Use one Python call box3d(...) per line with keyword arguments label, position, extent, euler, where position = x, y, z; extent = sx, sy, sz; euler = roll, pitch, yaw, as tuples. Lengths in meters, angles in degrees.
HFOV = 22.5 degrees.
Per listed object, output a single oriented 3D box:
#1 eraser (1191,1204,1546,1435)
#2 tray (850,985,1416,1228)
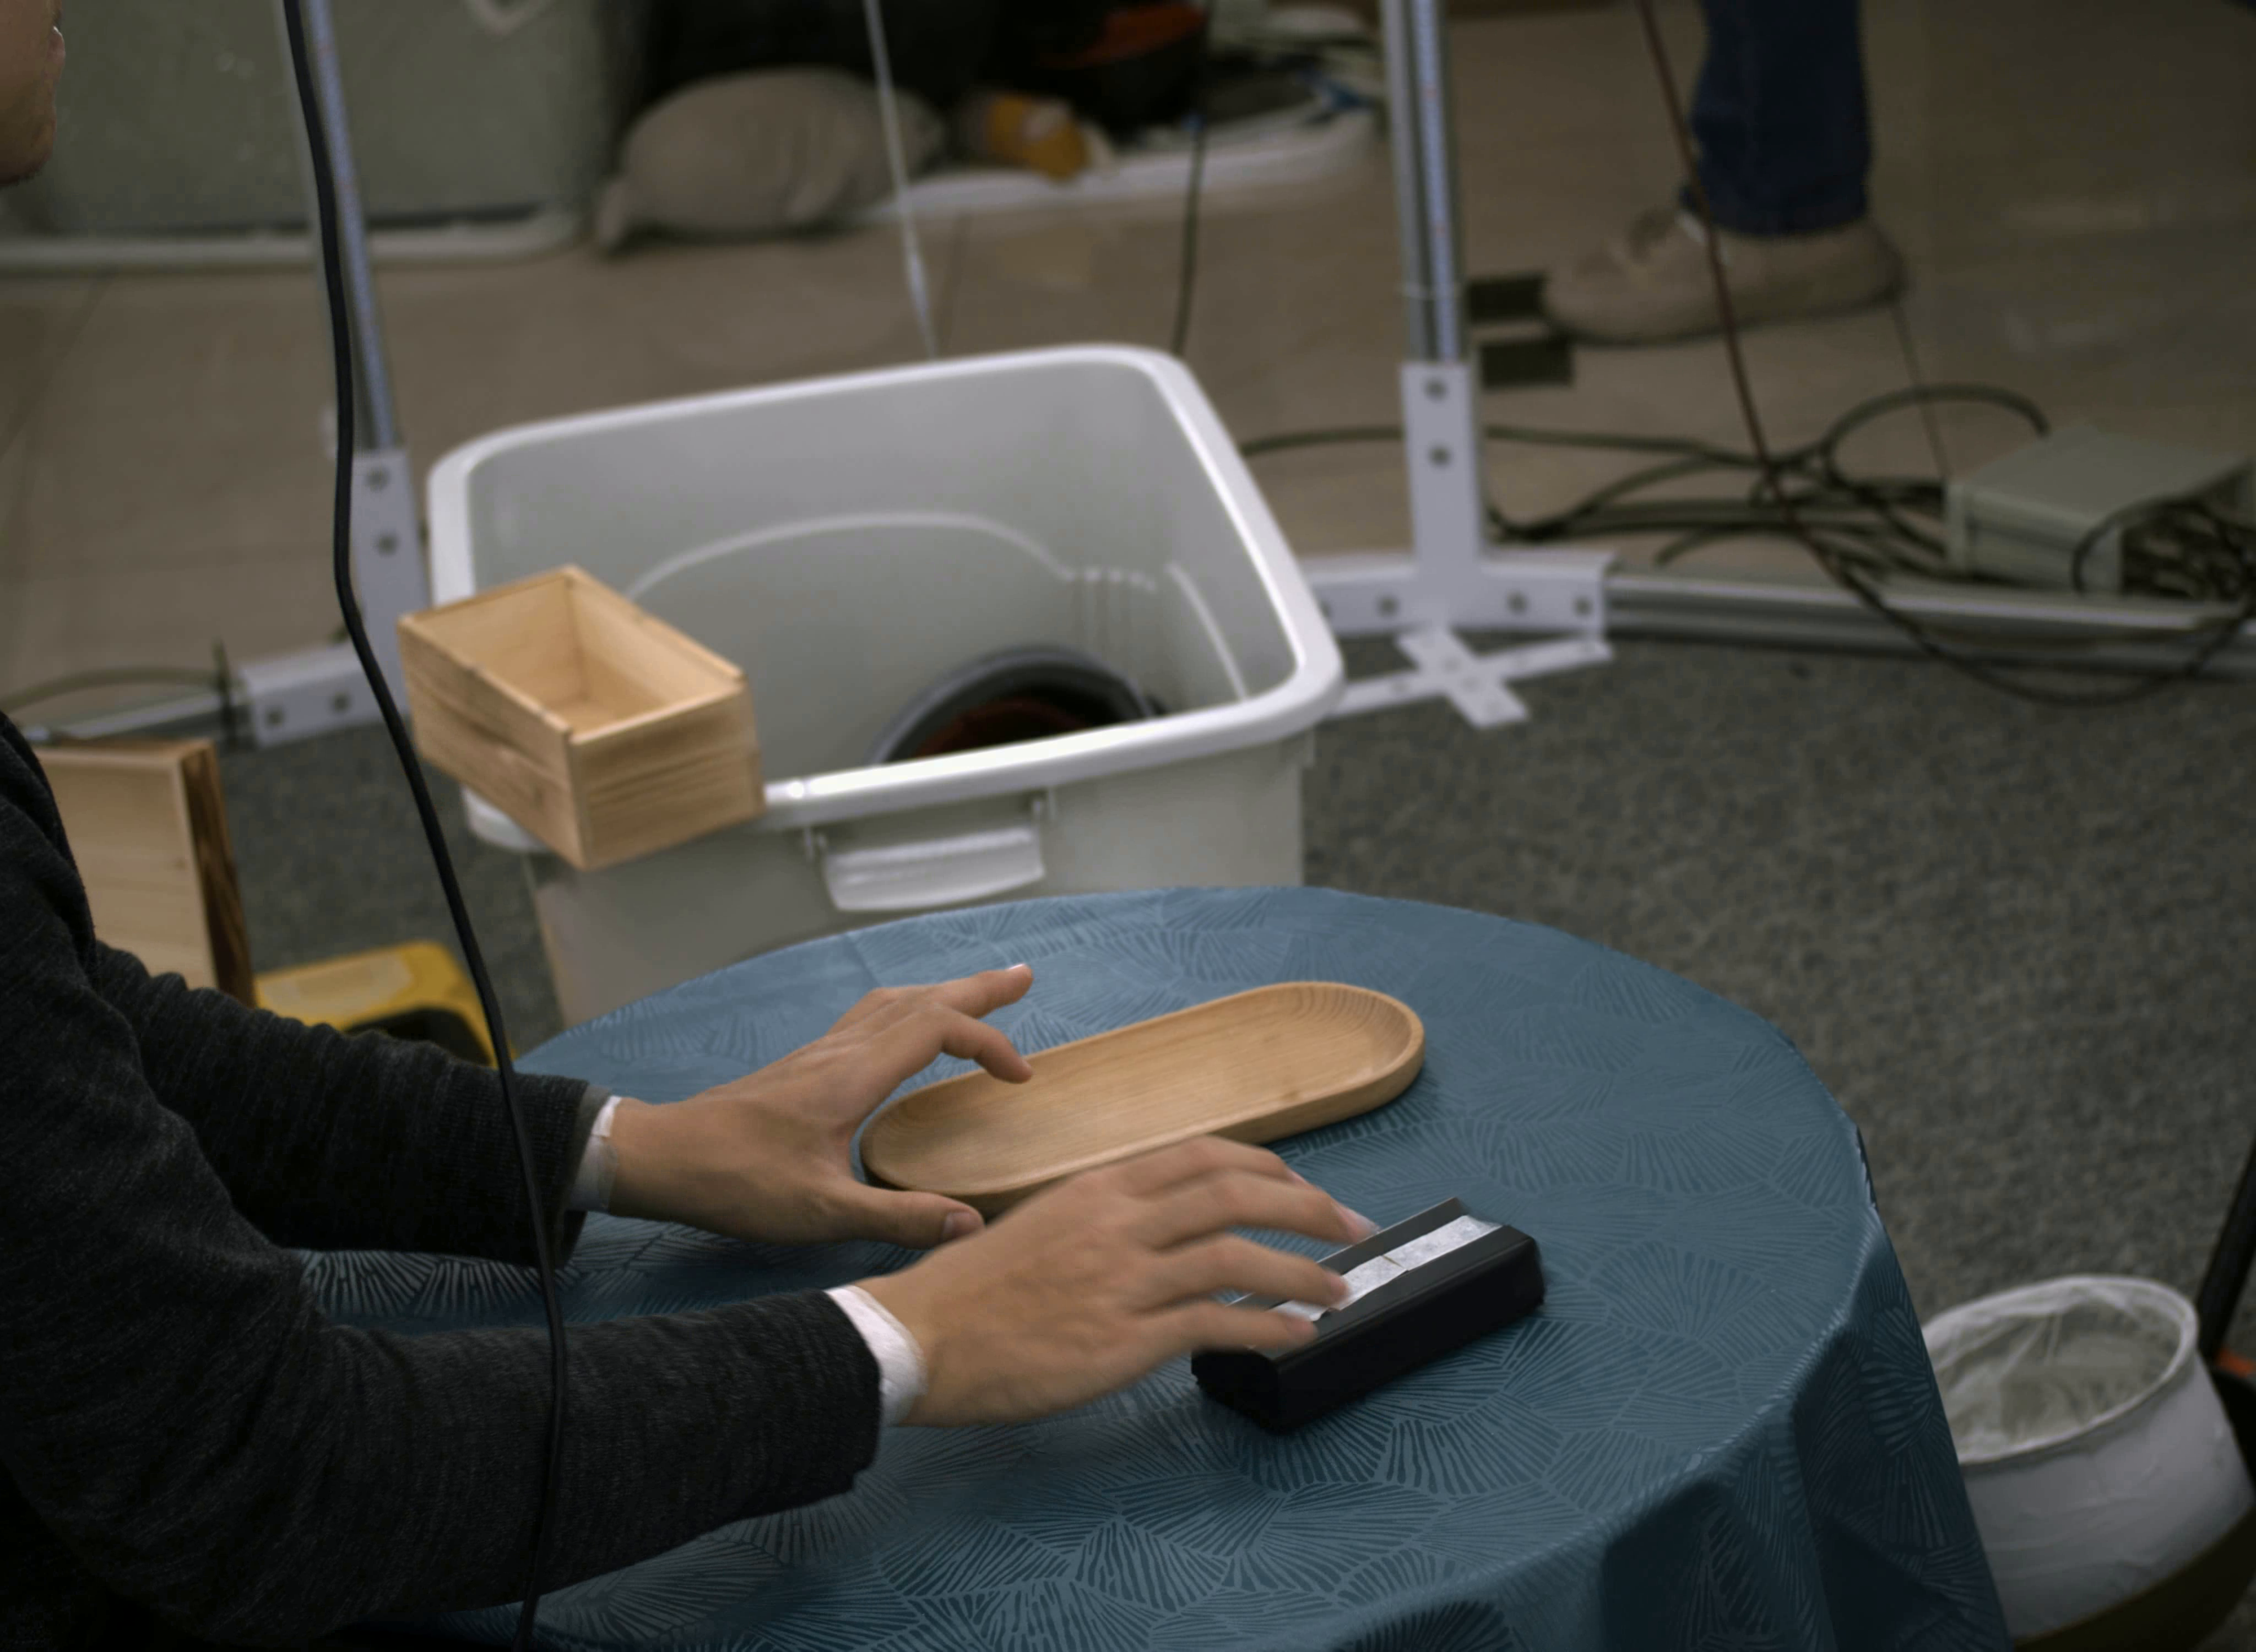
box3d(label="eraser", position=(0.087, 0.174, 2.018), extent=(0.124, 0.031, 0.053), euler=(-24, 28, -31))
box3d(label="tray", position=(0.003, 0.108, 2.194), extent=(0.230, 0.020, 0.100), euler=(-17, 25, -19))
